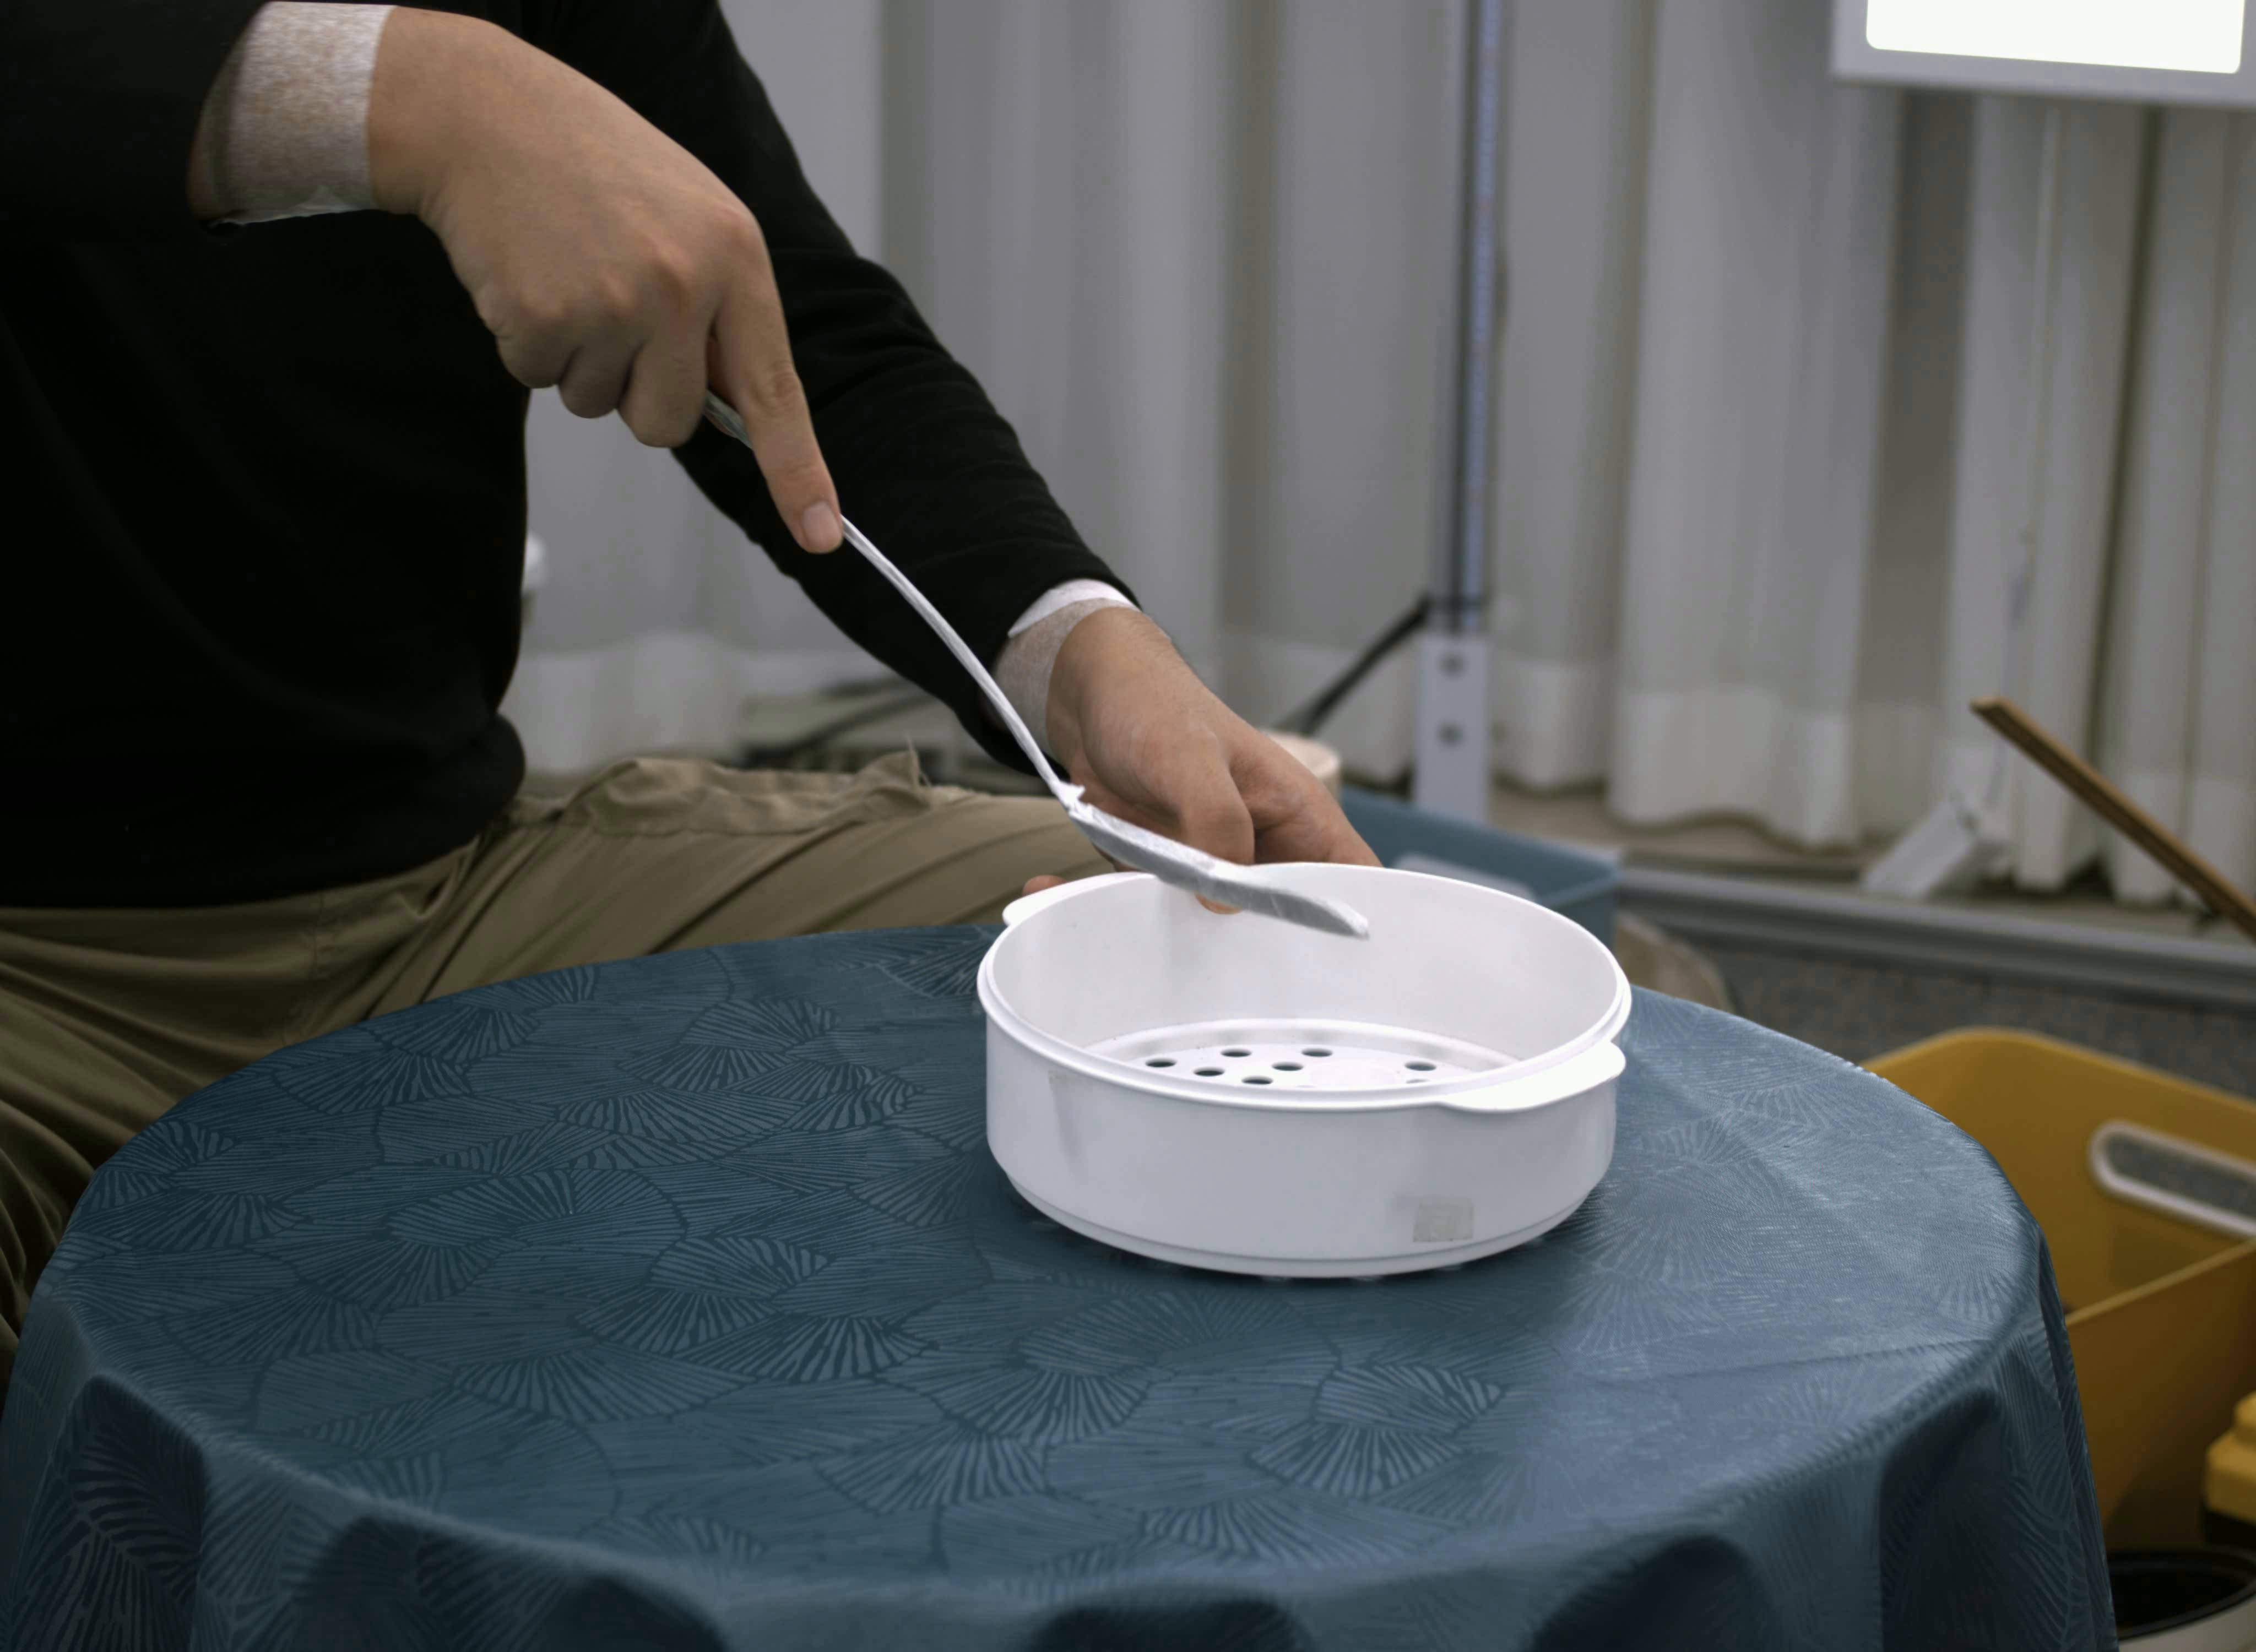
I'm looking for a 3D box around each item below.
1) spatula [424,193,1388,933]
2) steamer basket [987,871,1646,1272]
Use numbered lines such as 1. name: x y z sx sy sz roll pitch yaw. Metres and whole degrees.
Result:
1. spatula: -0.069 -0.081 1.570 0.364 0.045 0.099 44 7 3
2. steamer basket: 0.057 0.075 1.613 0.203 0.070 0.227 -14 24 -40
